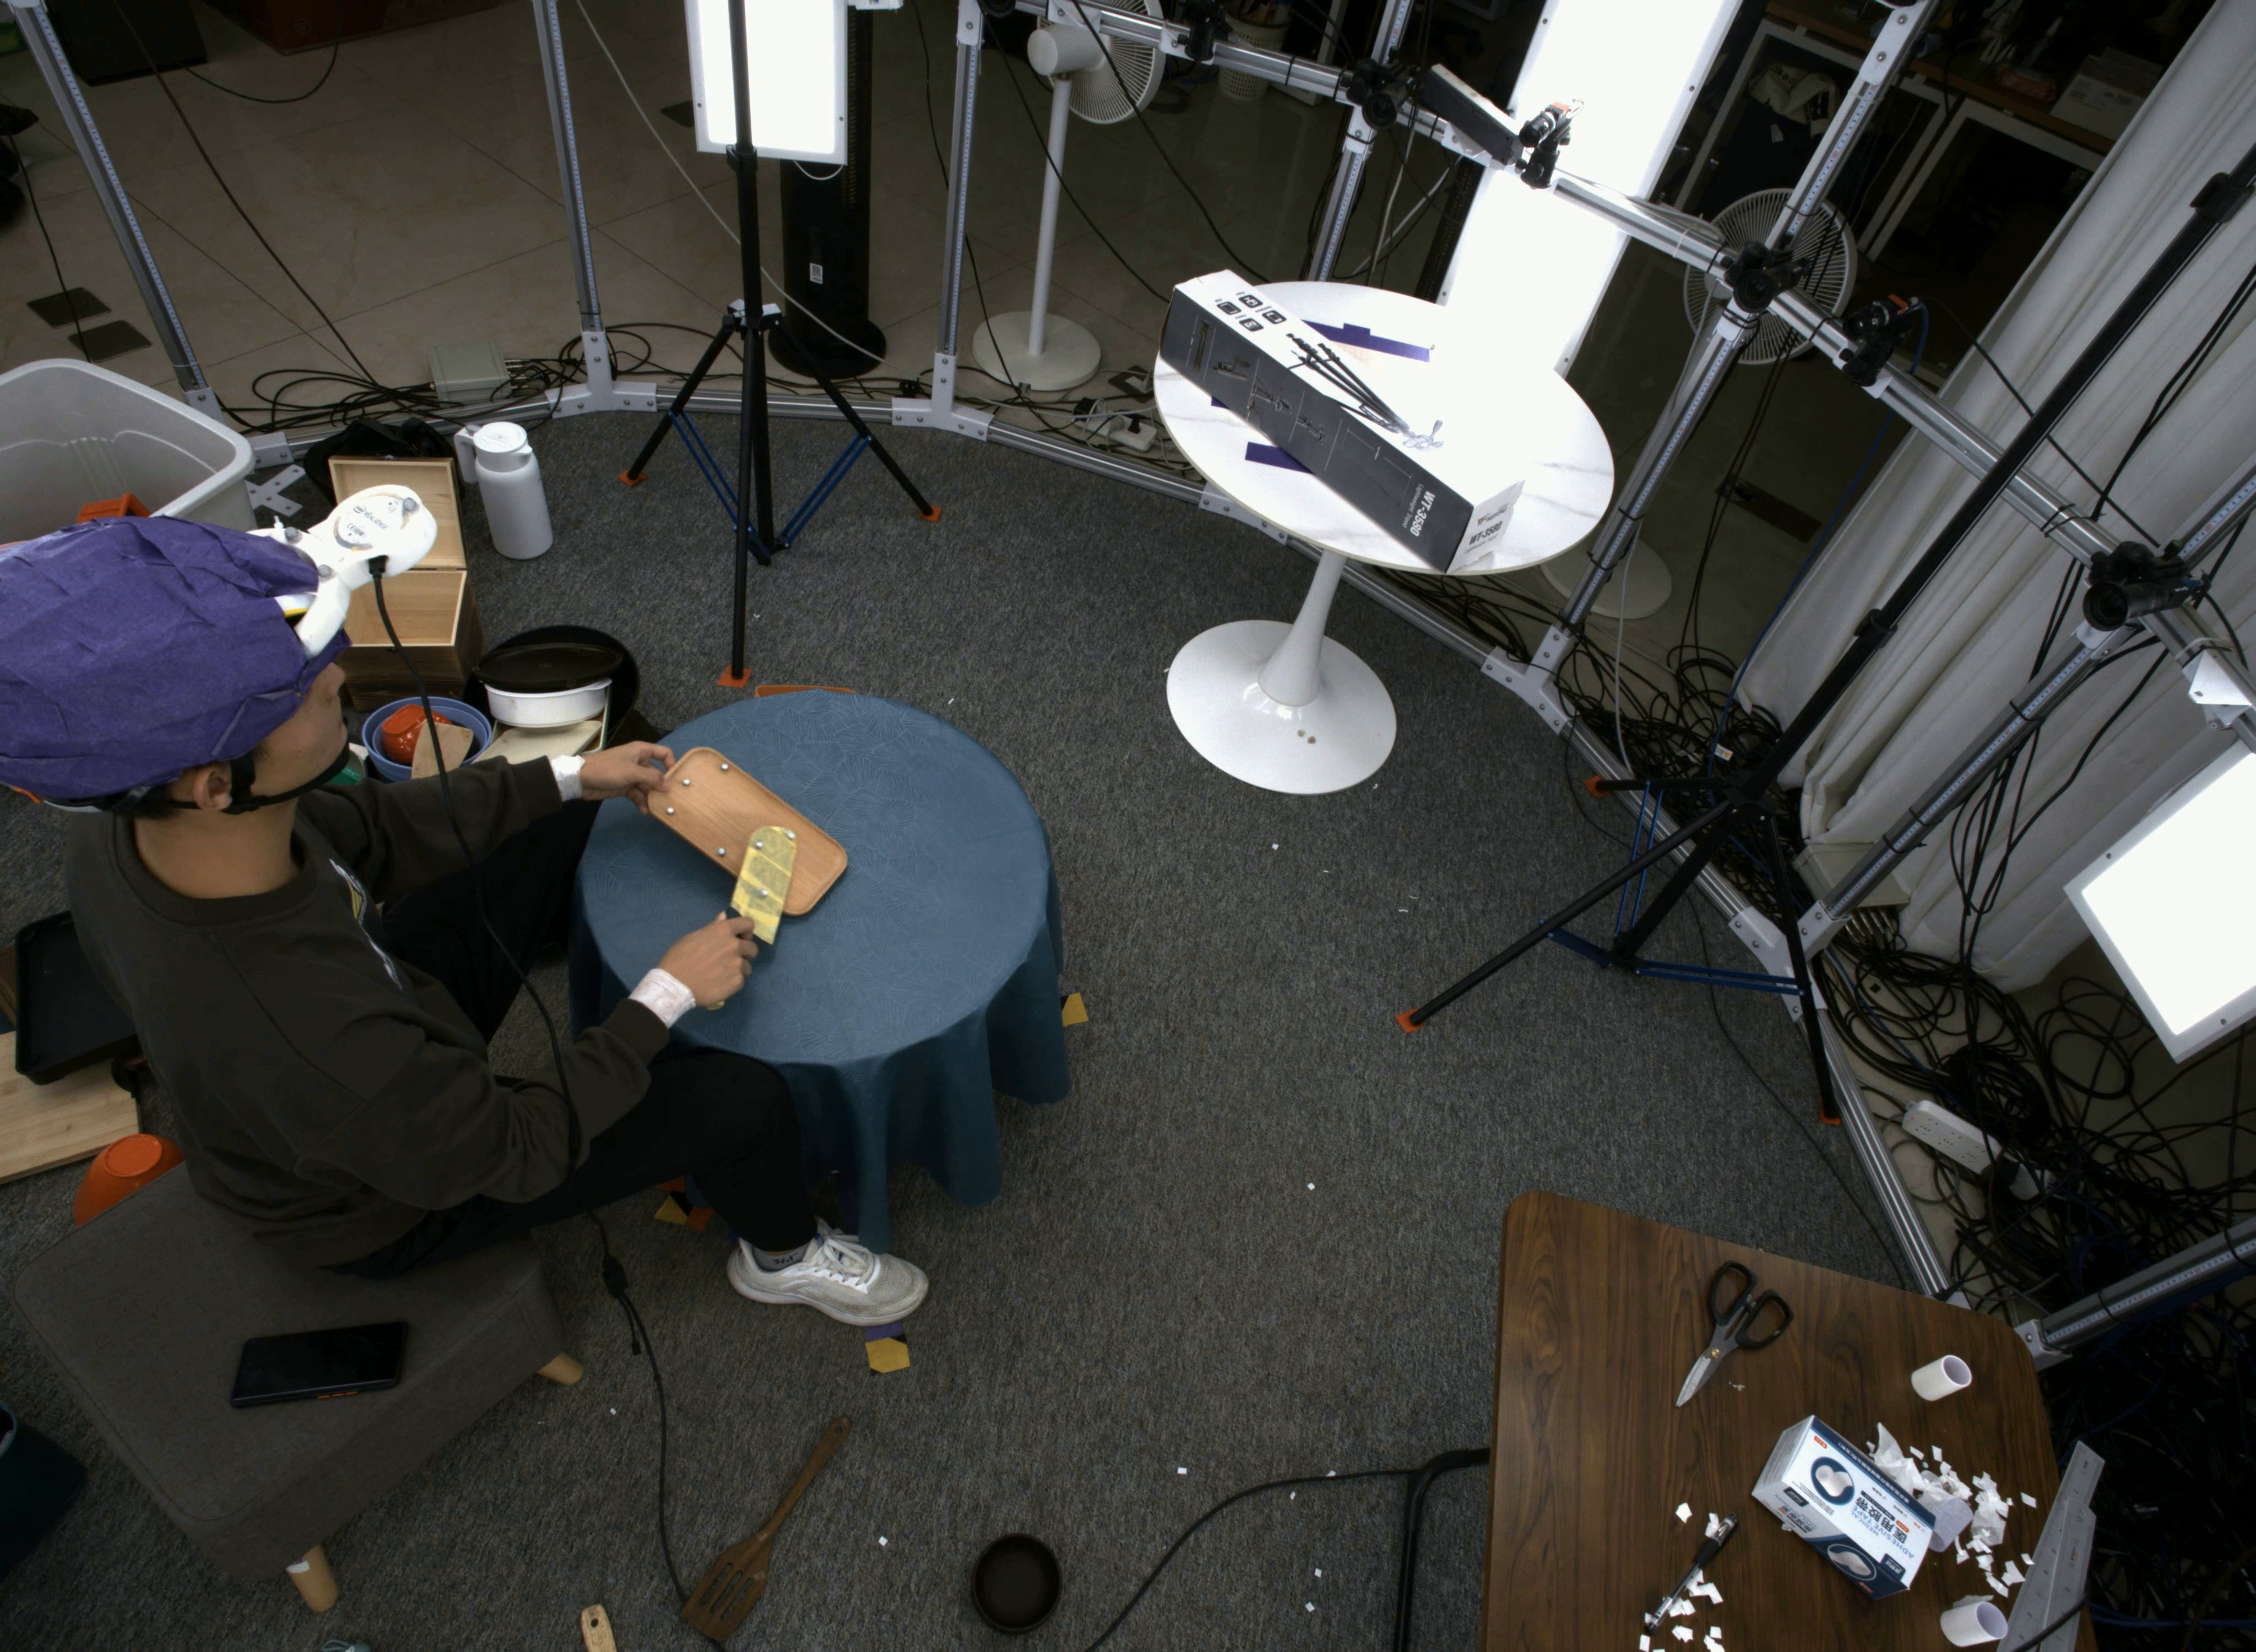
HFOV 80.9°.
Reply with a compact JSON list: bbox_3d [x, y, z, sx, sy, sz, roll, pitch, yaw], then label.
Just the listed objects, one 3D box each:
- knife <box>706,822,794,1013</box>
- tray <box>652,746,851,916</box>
[{"bbox_3d":[-0.459,0.106,1.582,0.084,0.027,0.285,42,40,-35],"label":"knife"},{"bbox_3d":[-0.483,0.005,1.660,0.253,0.023,0.130,39,55,-9],"label":"tray"}]
